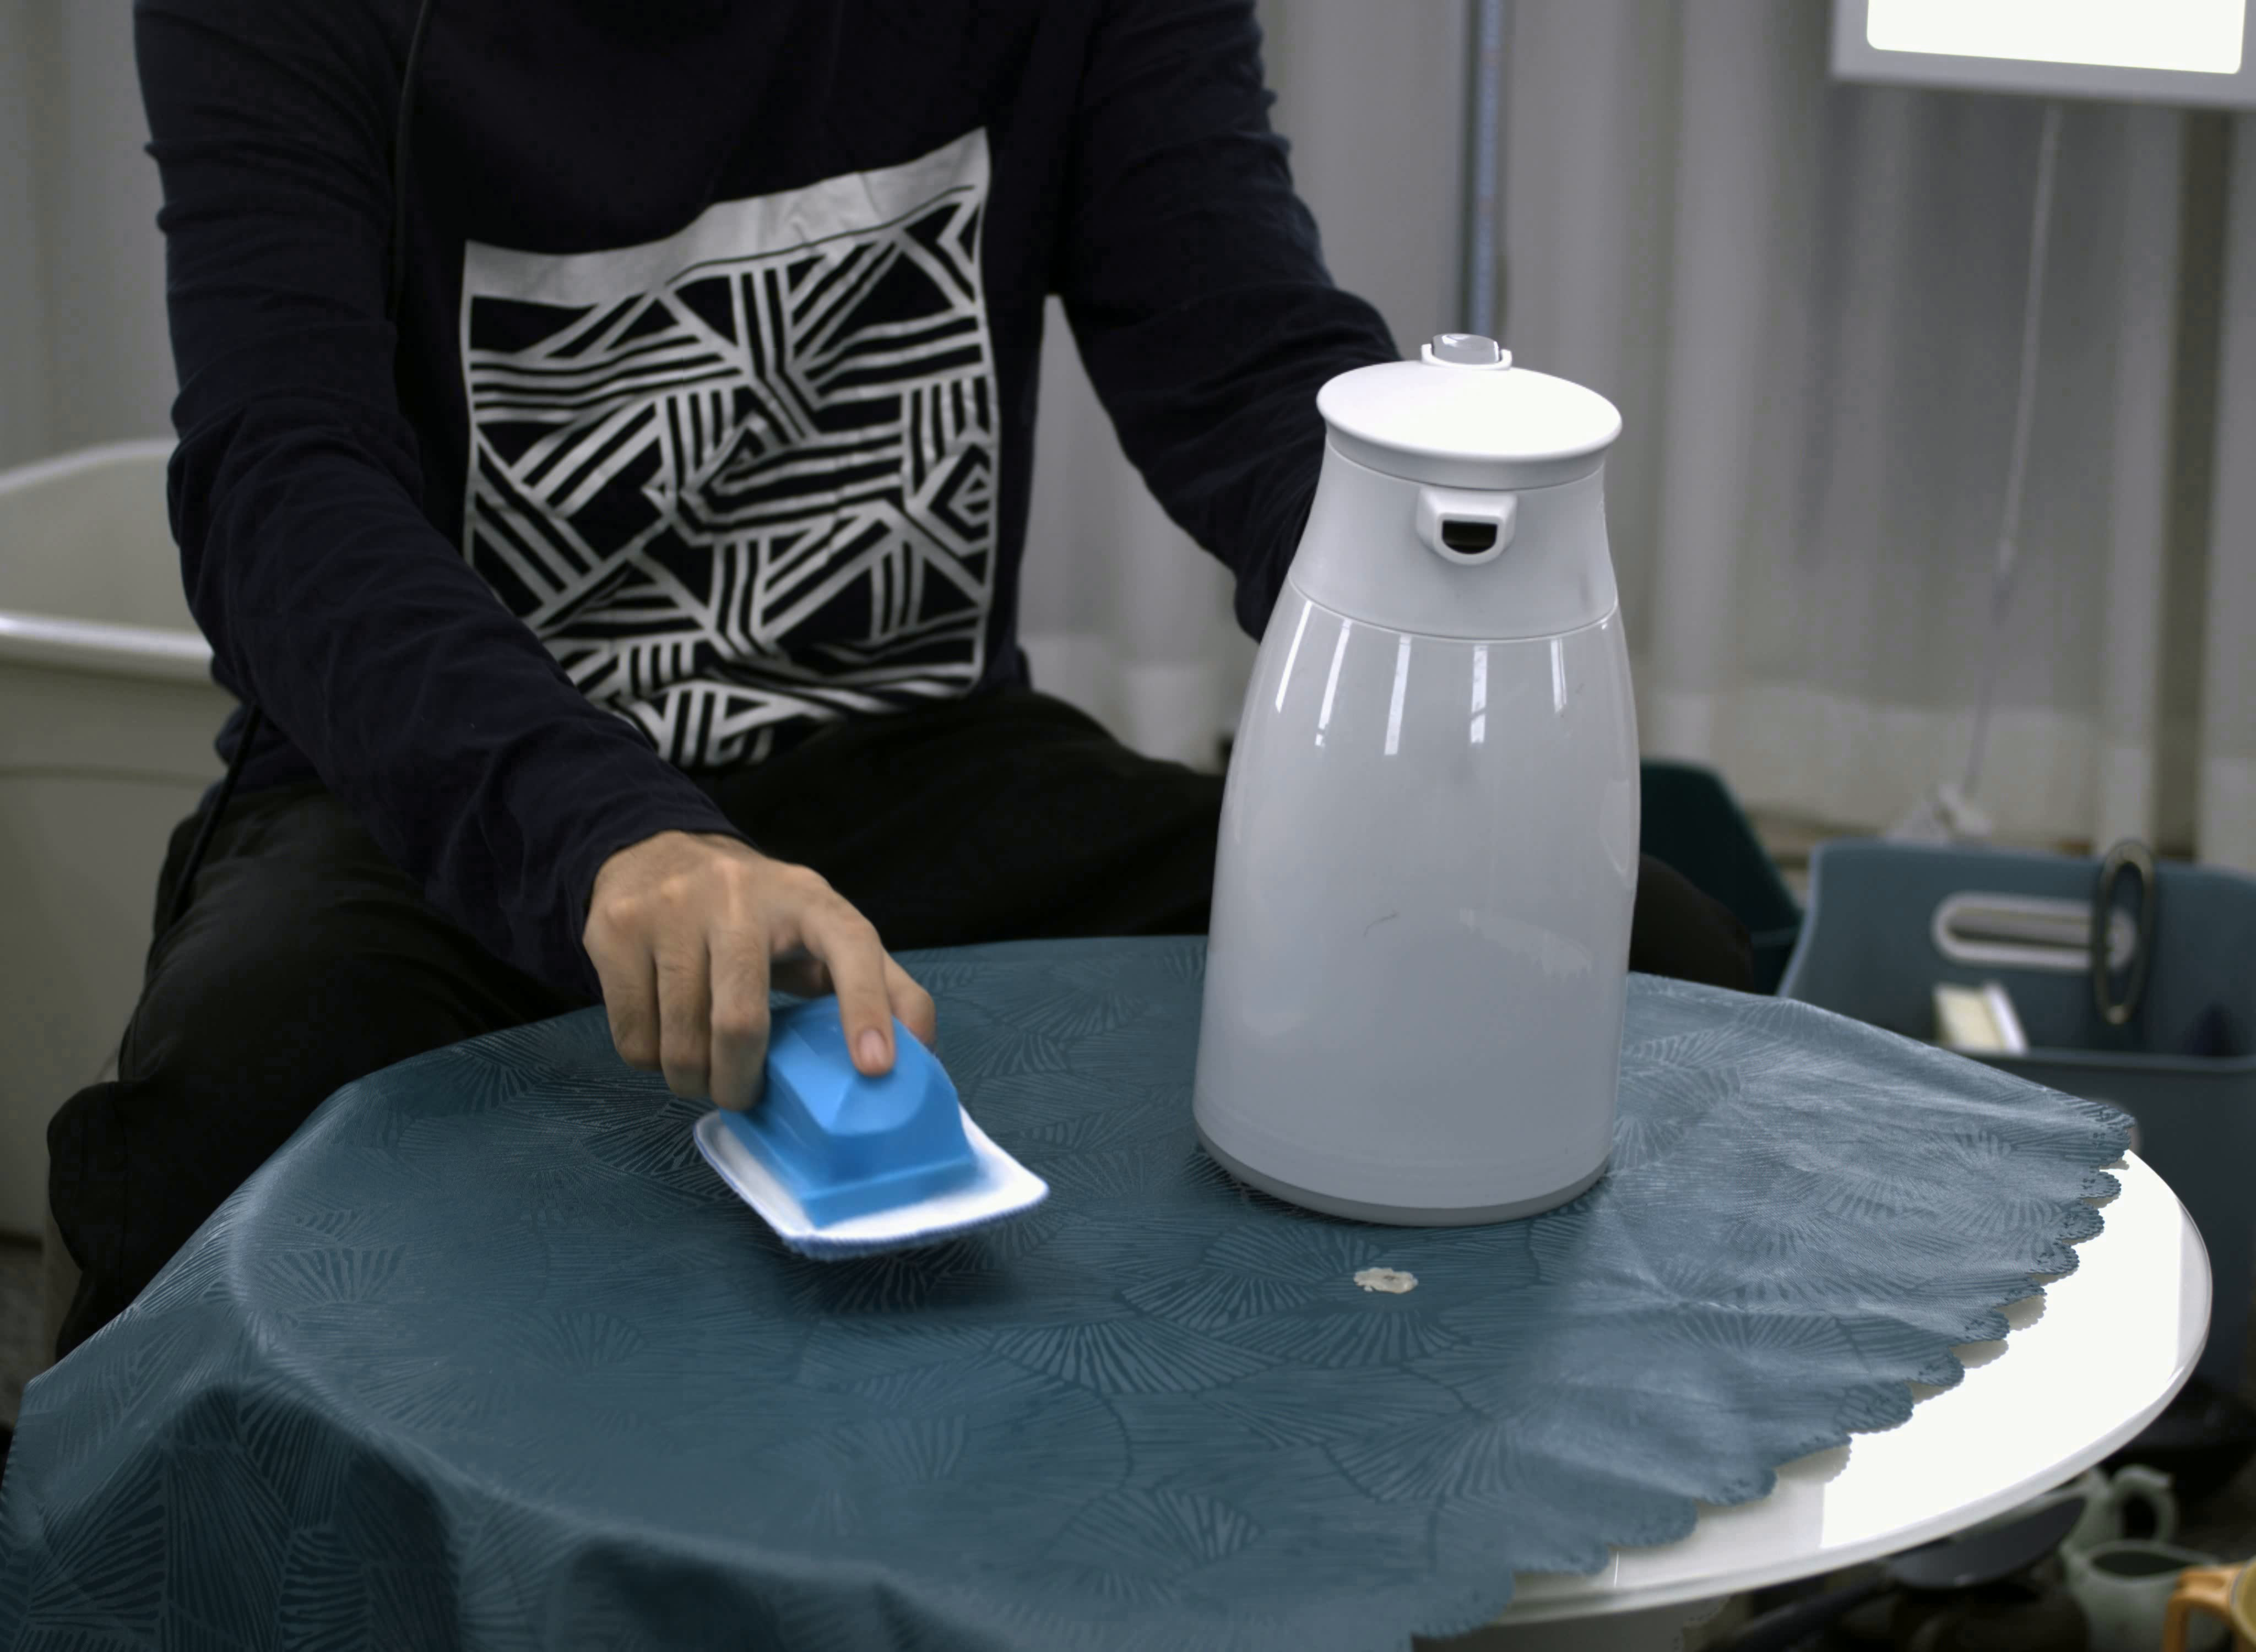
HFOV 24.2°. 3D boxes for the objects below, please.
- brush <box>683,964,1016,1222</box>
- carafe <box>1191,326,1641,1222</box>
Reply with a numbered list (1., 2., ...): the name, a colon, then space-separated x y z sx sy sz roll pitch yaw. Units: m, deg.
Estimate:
1. brush: -0.085 0.078 1.574 0.084 0.056 0.142 -9 16 -13
2. carafe: 0.093 -0.026 1.623 0.132 0.251 0.166 3 22 -2
